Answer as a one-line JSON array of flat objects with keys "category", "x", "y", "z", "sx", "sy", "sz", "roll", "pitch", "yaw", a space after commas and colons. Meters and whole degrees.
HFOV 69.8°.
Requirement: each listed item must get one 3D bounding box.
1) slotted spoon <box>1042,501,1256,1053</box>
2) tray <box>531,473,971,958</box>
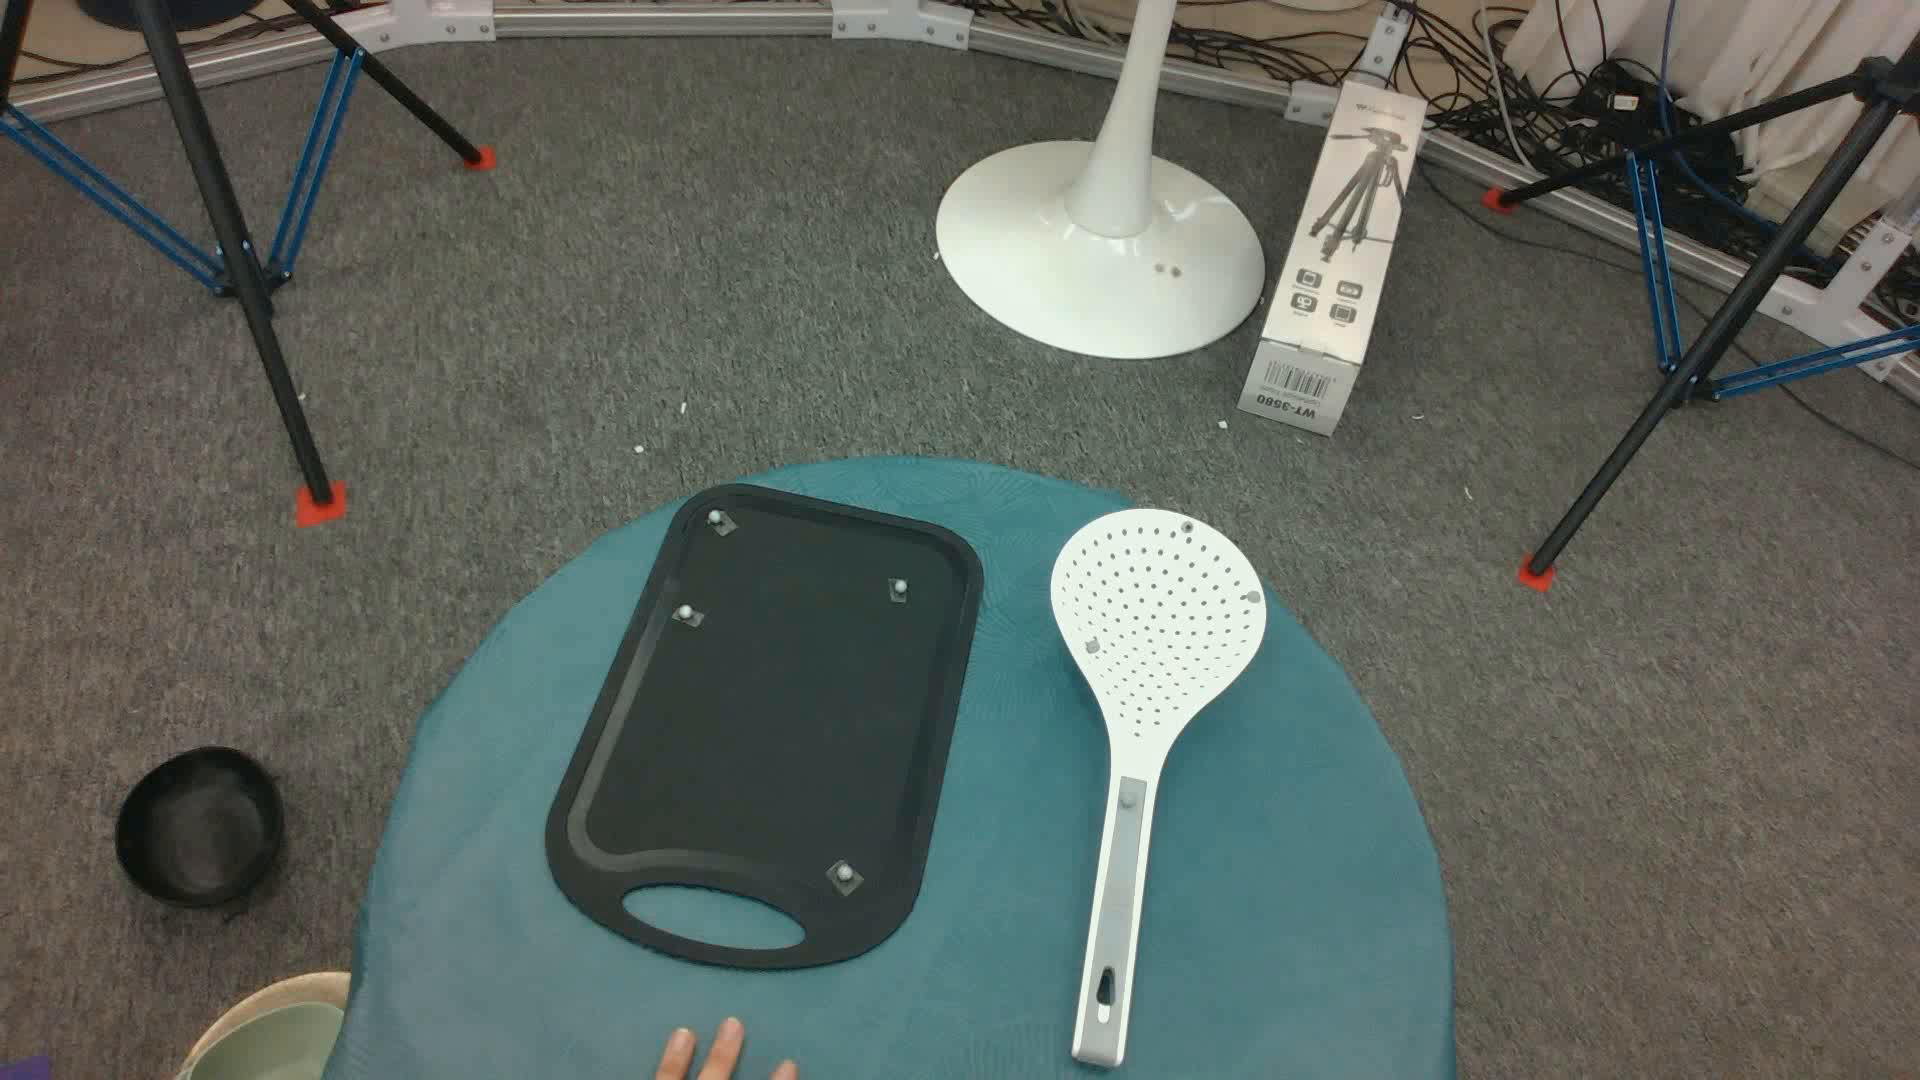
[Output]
[{"category": "slotted spoon", "x": 0.097, "y": 0.122, "z": 0.809, "sx": 0.136, "sy": 0.045, "sz": 0.351, "roll": 12, "pitch": 51, "yaw": 3}, {"category": "tray", "x": -0.115, "y": 0.091, "z": 0.823, "sx": 0.211, "sy": 0.010, "sz": 0.327, "roll": 12, "pitch": 51, "yaw": 1}]
